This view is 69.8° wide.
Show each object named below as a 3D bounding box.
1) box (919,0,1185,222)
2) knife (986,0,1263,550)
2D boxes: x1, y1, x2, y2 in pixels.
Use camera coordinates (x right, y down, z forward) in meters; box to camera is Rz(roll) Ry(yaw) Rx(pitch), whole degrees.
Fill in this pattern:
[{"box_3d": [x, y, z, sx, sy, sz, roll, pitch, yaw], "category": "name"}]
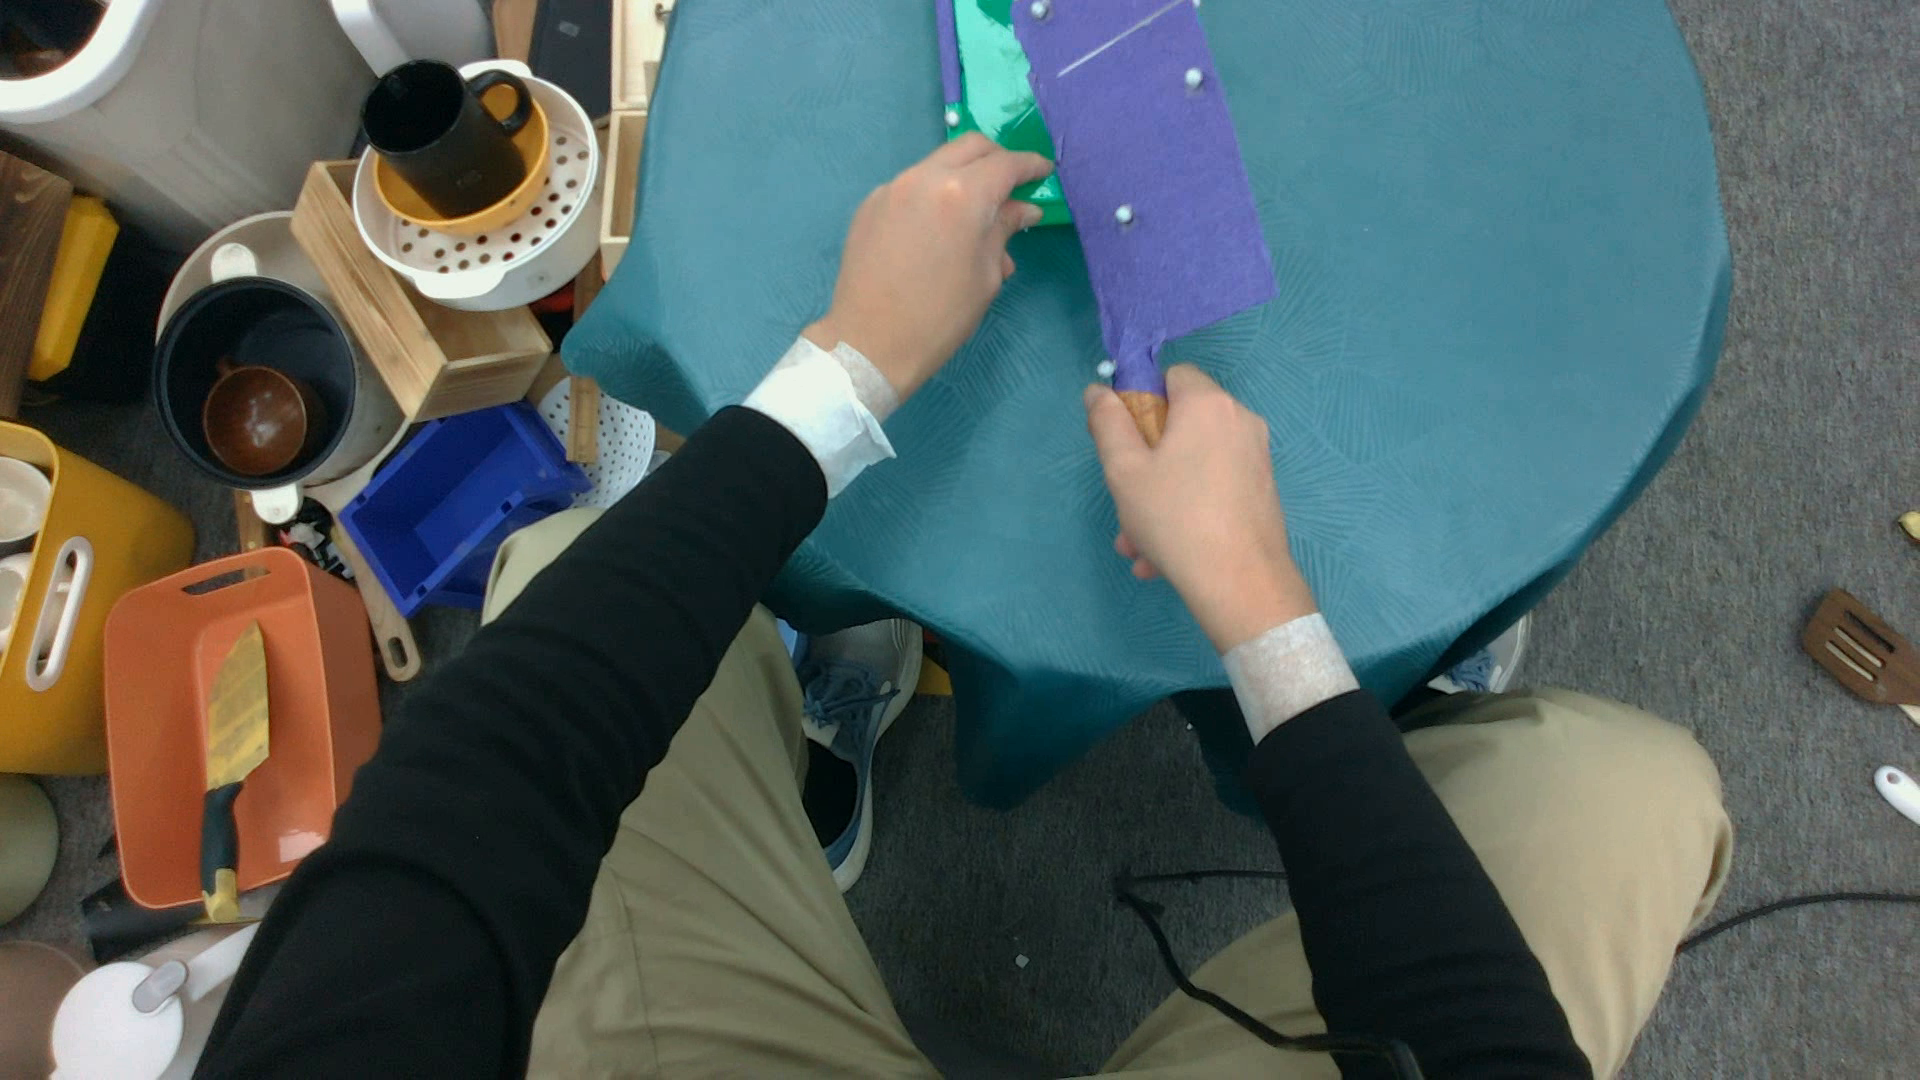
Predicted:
[{"box_3d": [0.047, -0.275, 0.754, 0.138, 0.065, 0.211, -6, 79, 0], "category": "box"}, {"box_3d": [0.091, -0.157, 0.665, 0.103, 0.032, 0.315, -19, 80, 26], "category": "knife"}]
